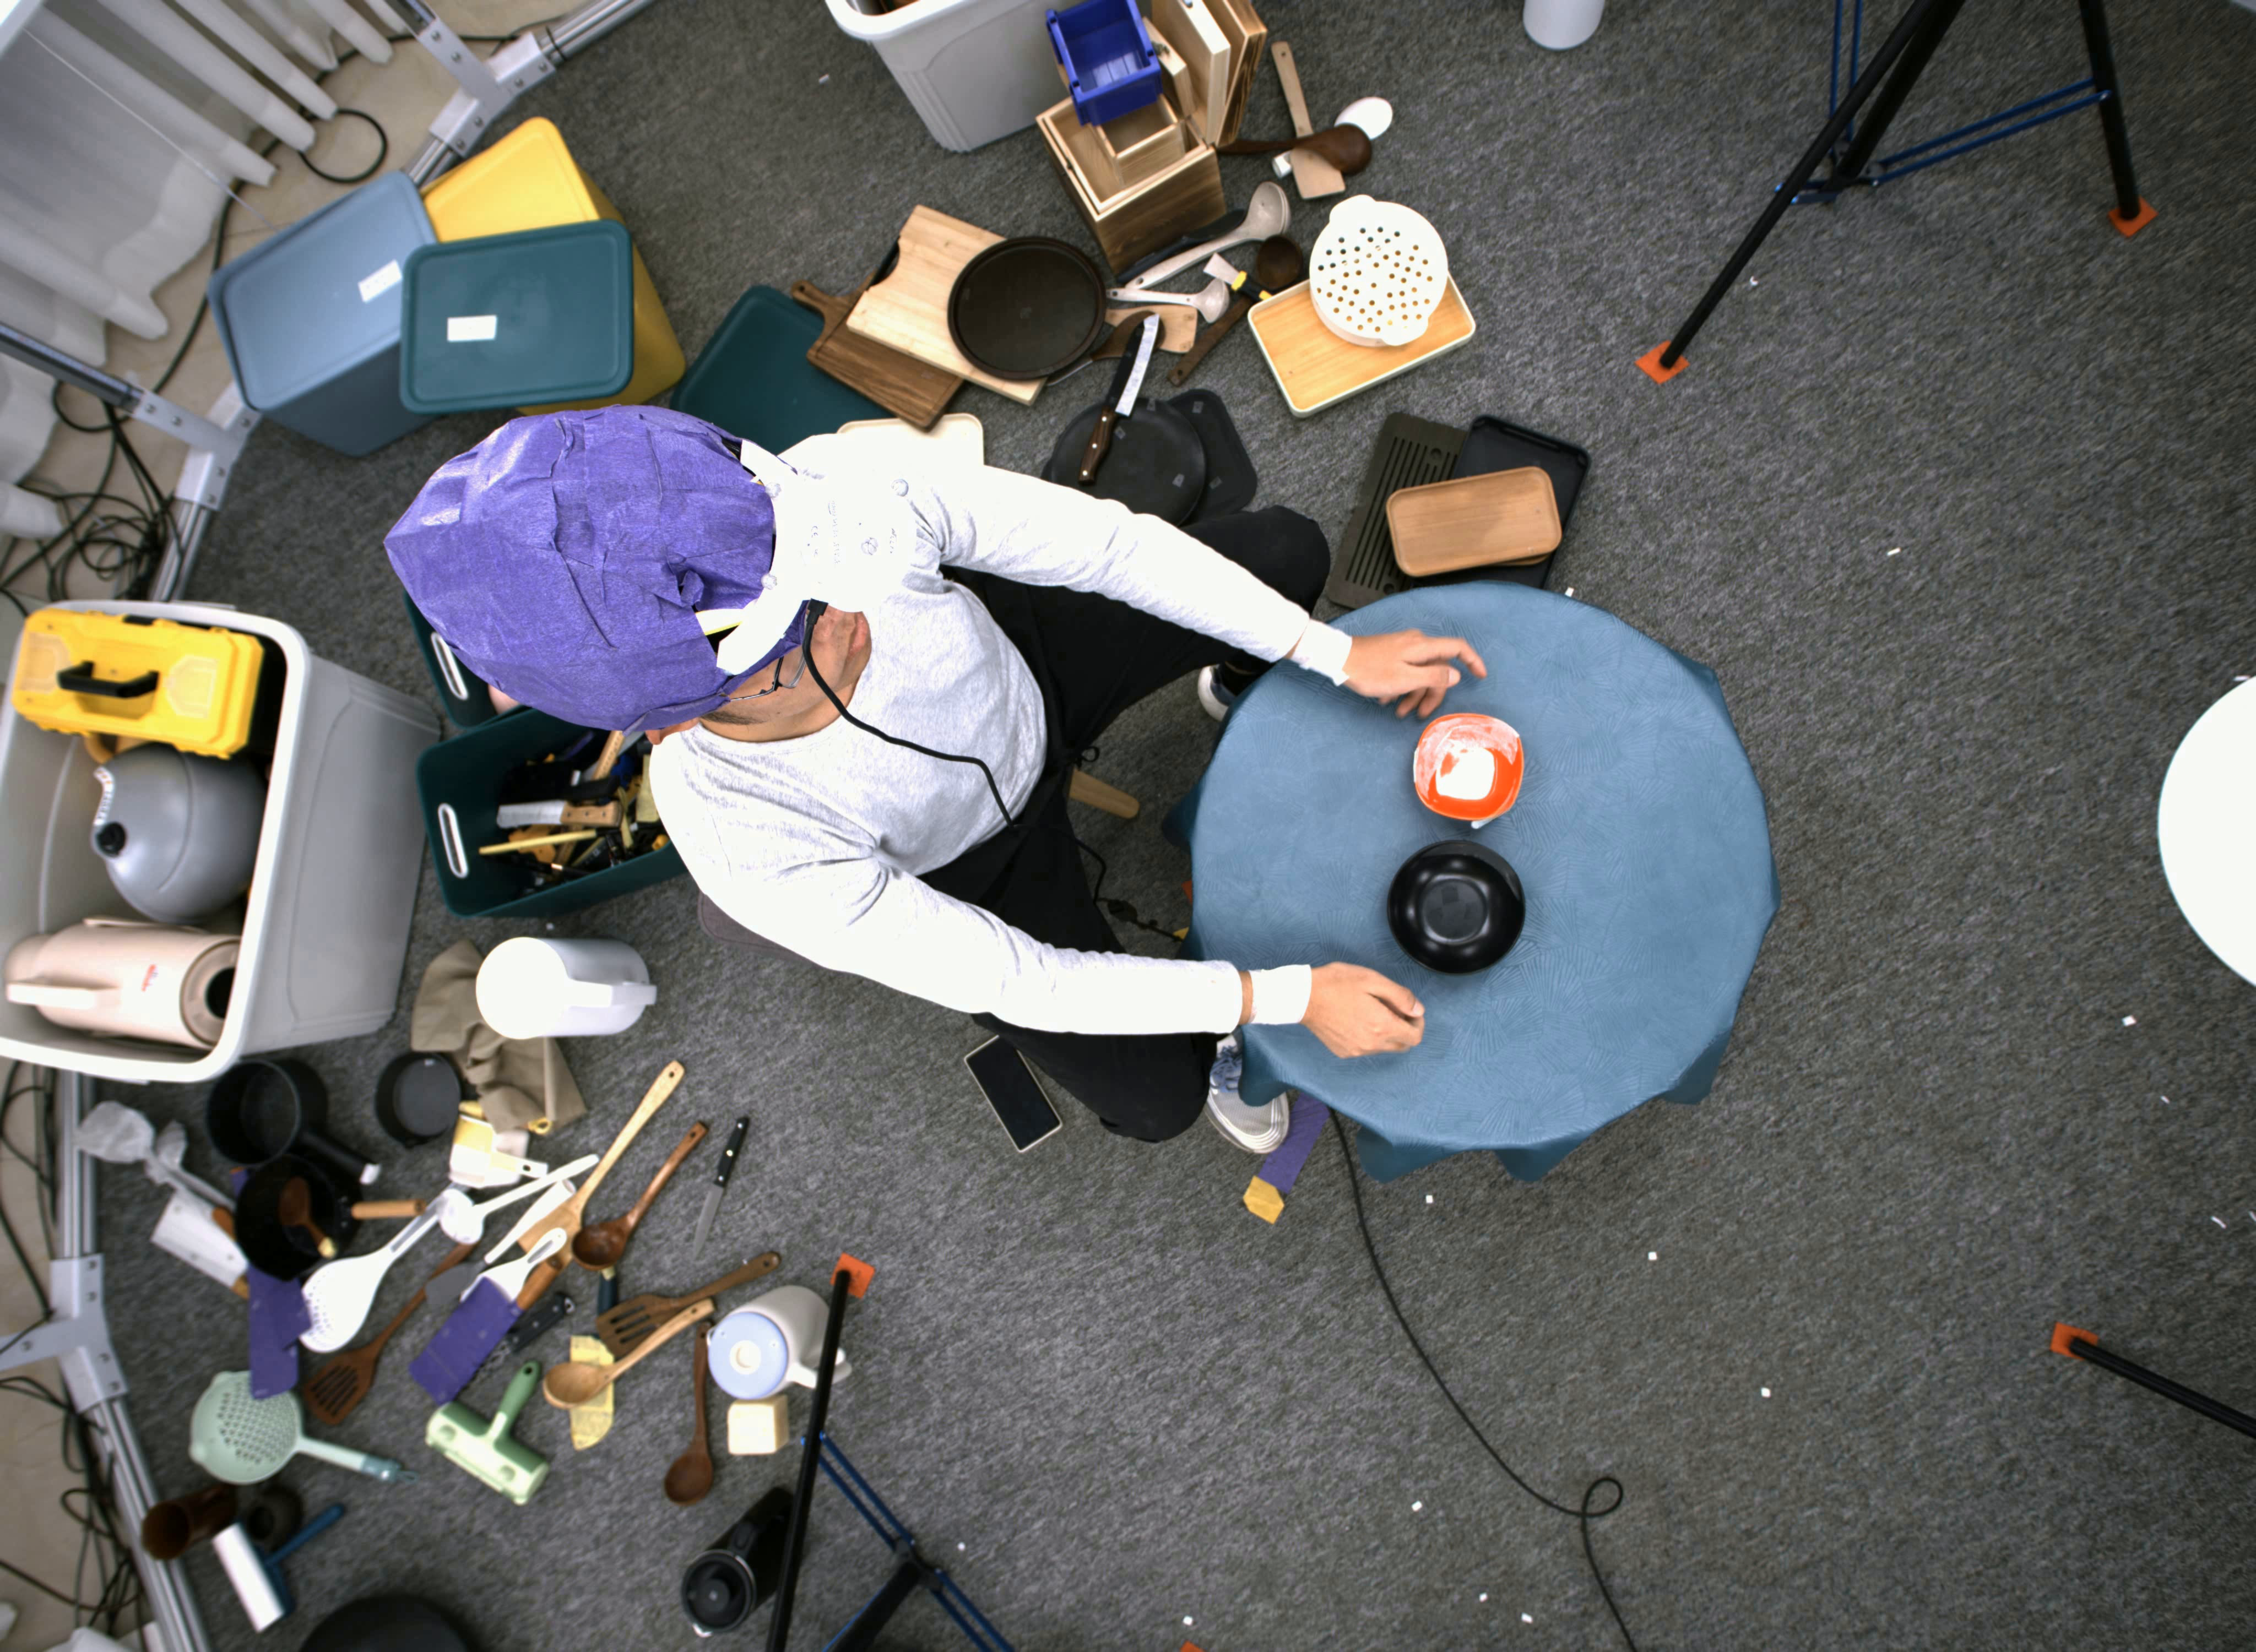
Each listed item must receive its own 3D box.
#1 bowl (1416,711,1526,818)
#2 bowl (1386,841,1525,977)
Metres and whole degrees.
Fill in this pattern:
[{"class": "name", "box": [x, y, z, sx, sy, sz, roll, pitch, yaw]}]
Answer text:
[{"class": "bowl", "box": [0.354, -0.063, 1.425, 0.119, 0.051, 0.118, -1, 87, 11]}, {"class": "bowl", "box": [0.337, 0.084, 1.423, 0.140, 0.050, 0.139, -1, 86, 13]}]
